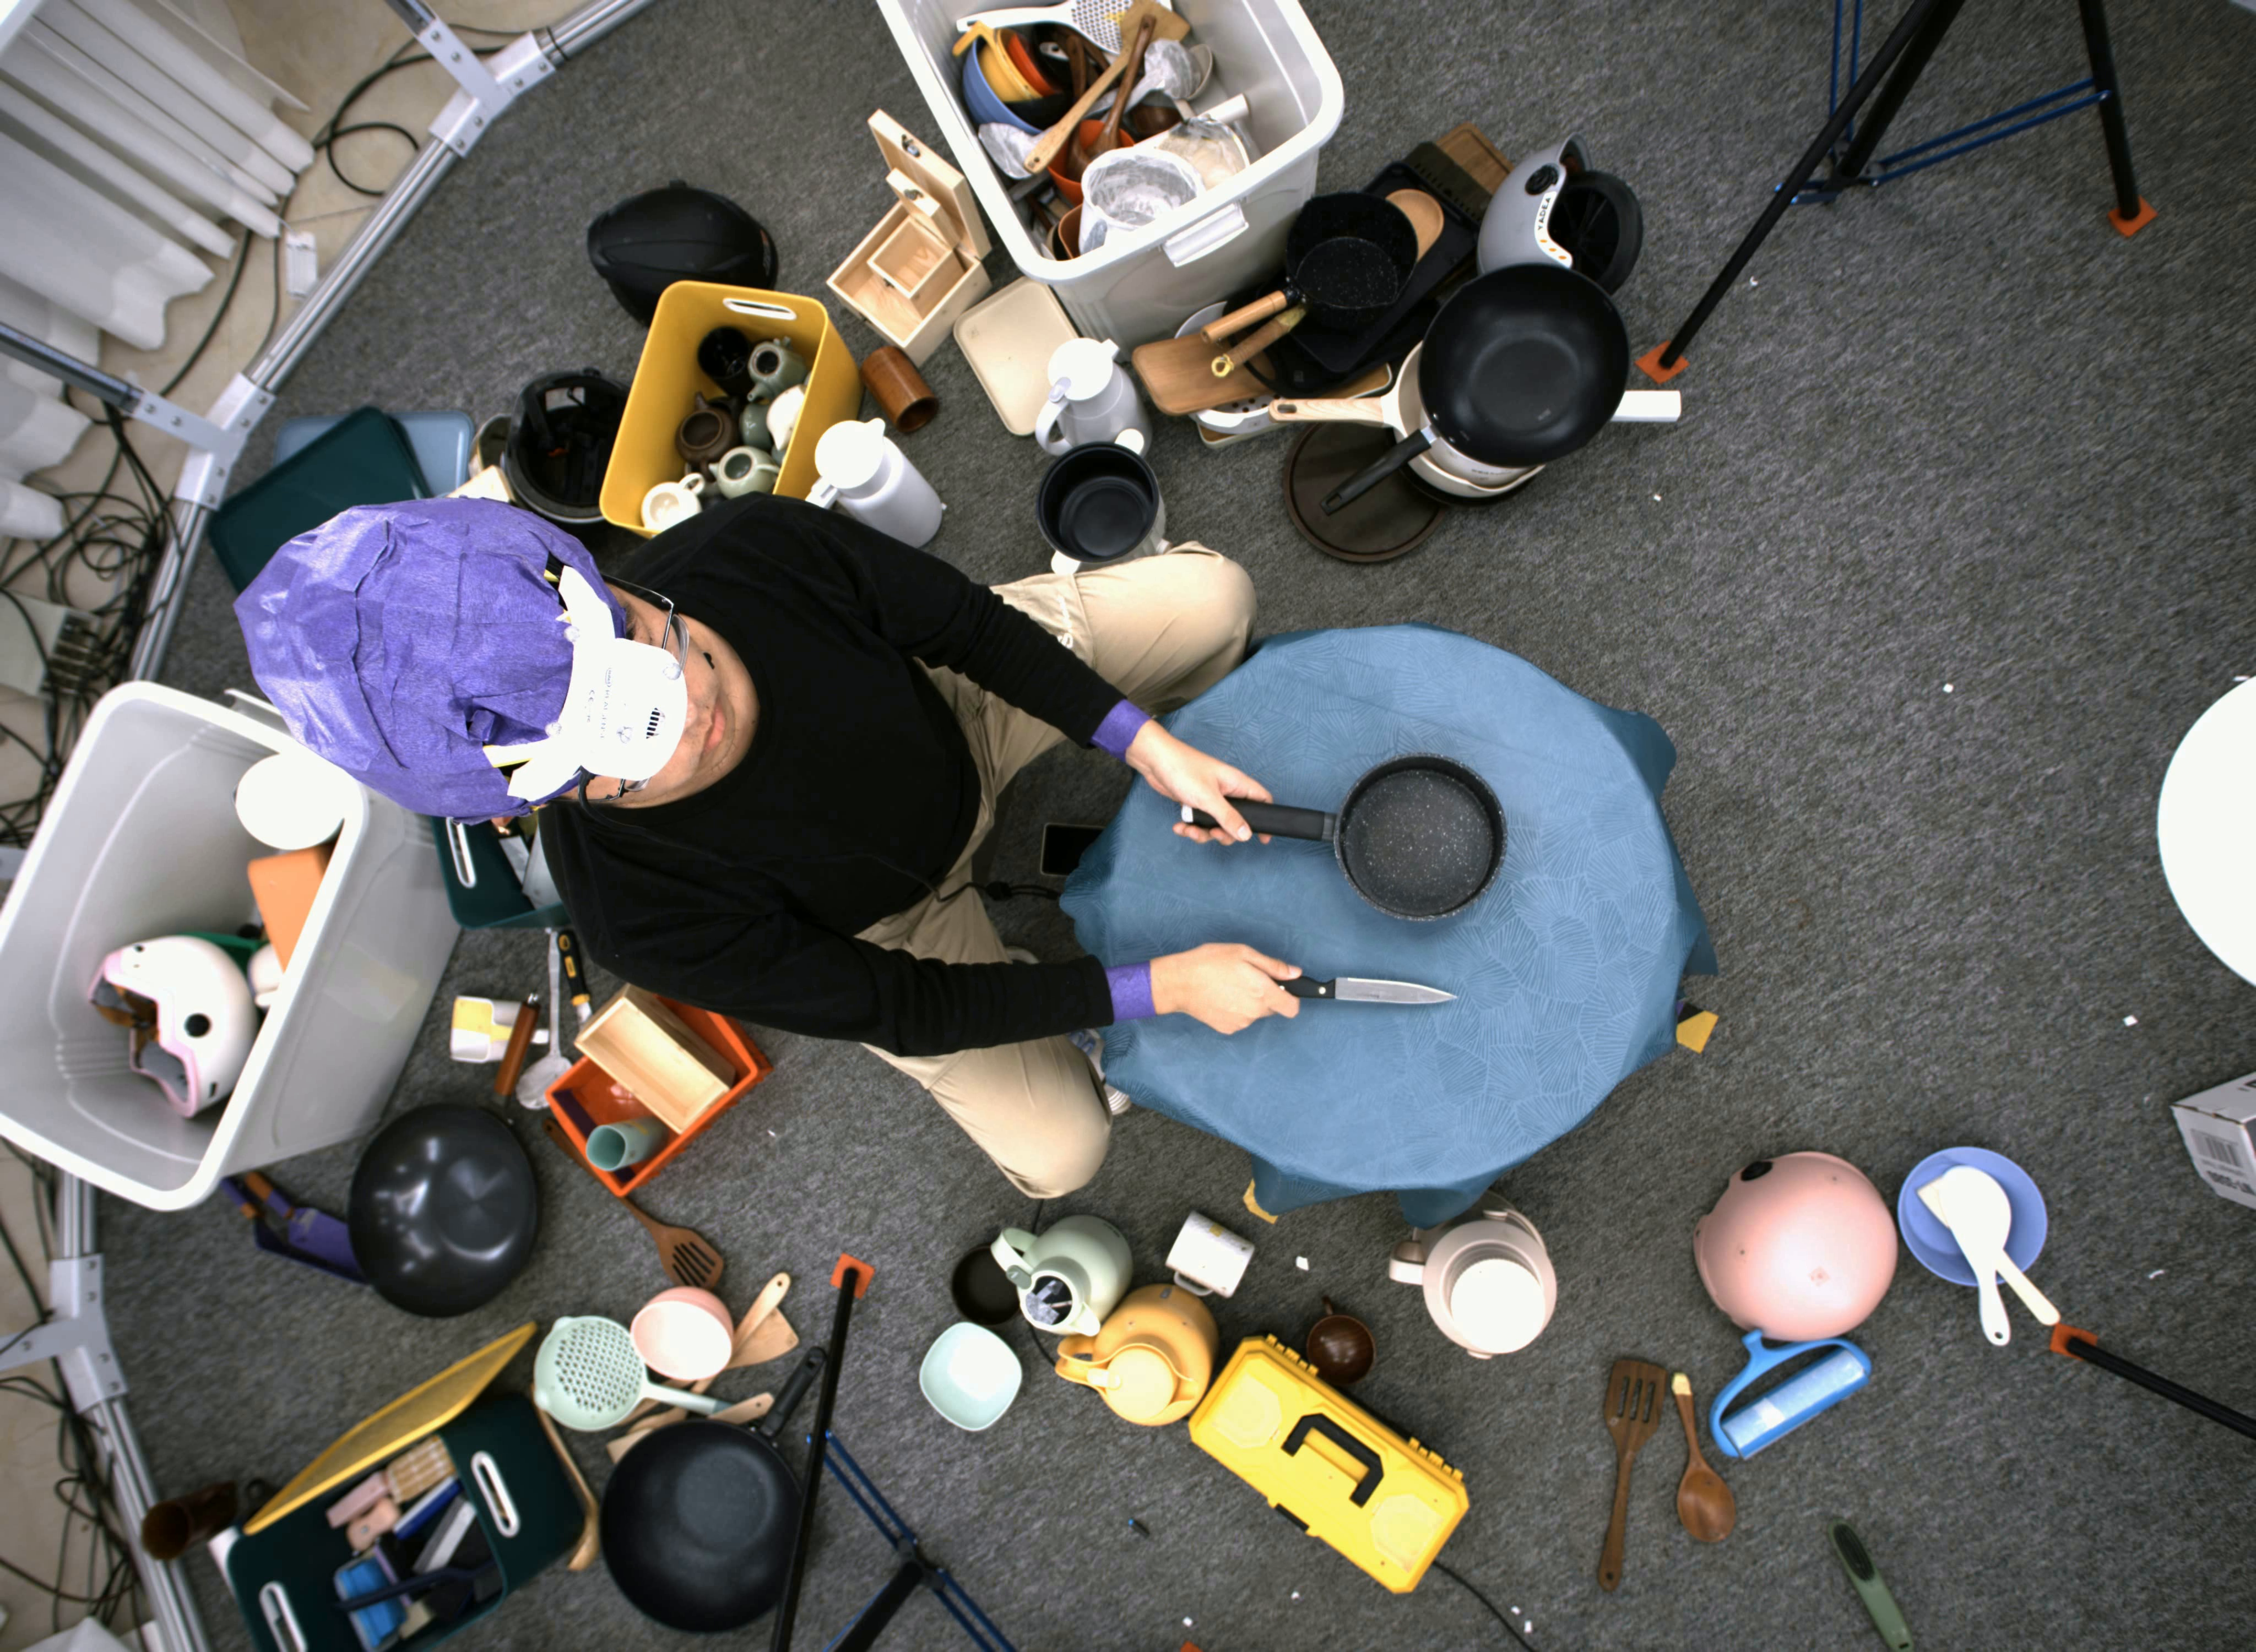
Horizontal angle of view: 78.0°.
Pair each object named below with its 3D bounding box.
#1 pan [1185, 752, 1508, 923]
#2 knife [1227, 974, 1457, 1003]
[{"bbox_3d":[0.223,-0.001,1.431,0.329,0.086,0.171,11,89,10],"label":"pan"},{"bbox_3d":[0.221,0.169,1.432,0.239,0.016,0.024,3,83,5],"label":"knife"}]
